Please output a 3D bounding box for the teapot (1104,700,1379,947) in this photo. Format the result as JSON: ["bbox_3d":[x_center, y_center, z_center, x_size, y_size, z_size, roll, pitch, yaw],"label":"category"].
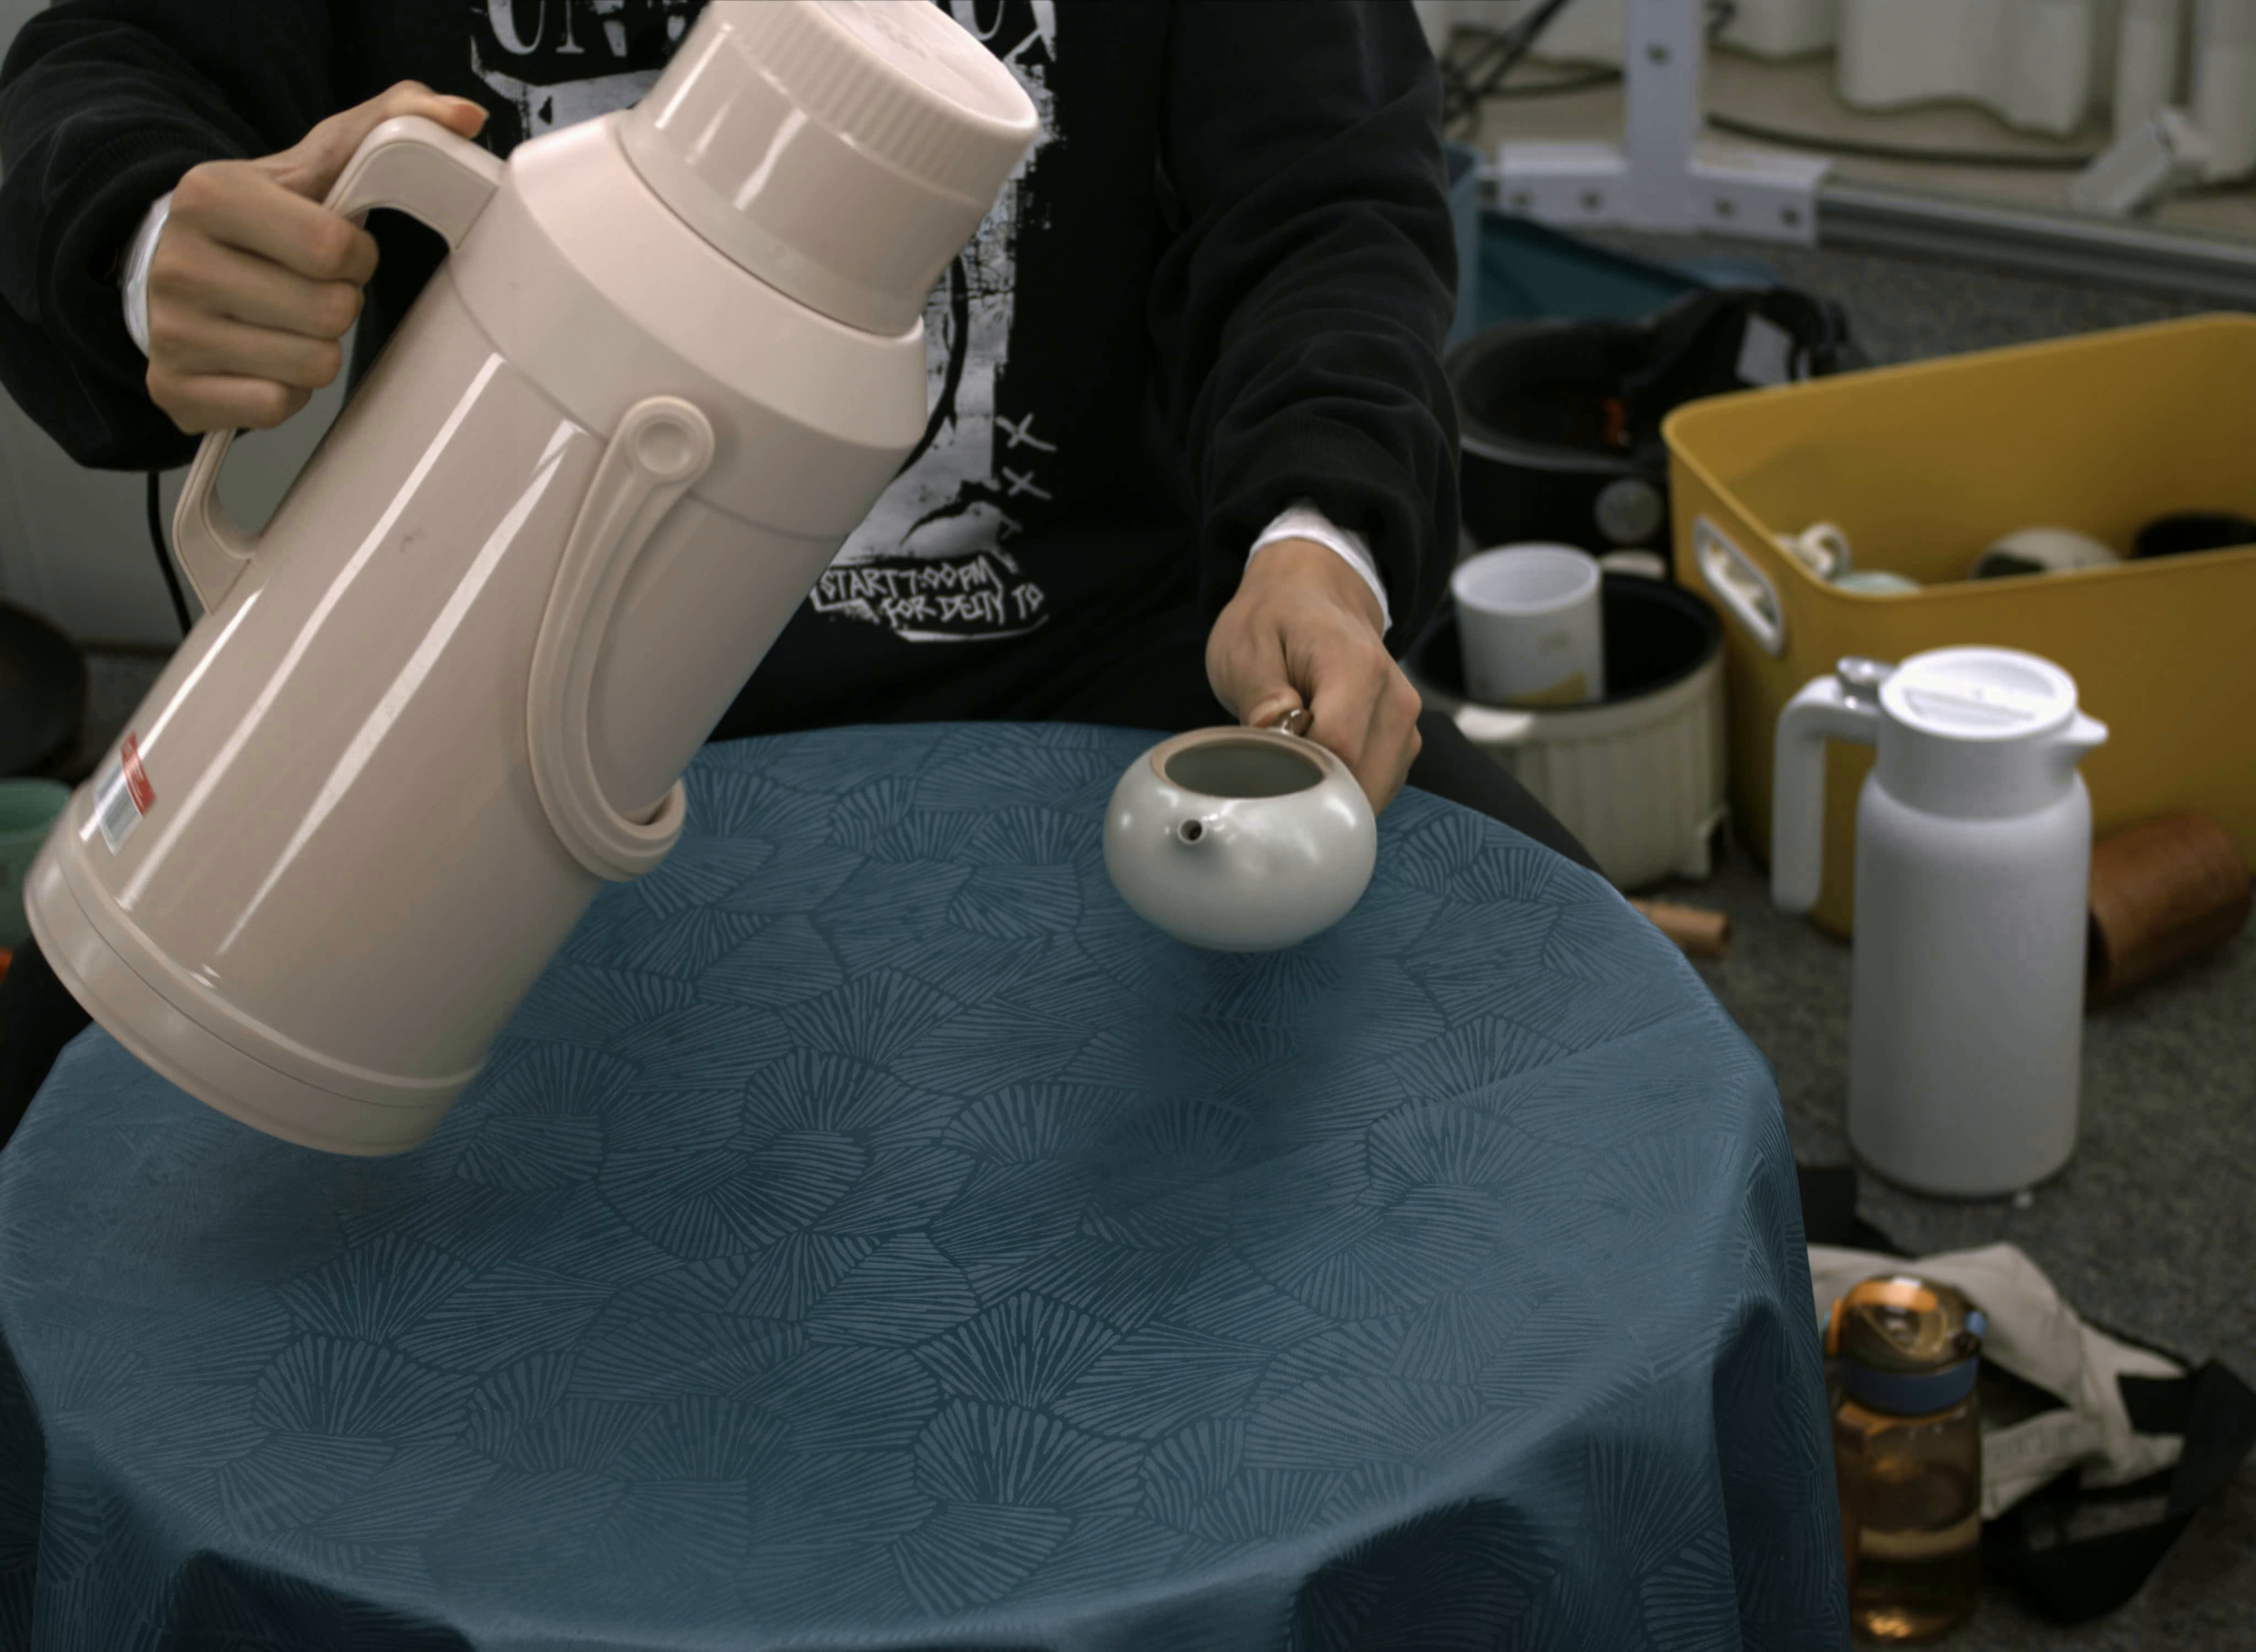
[{"bbox_3d":[0.041,-0.001,1.876,0.091,0.059,0.130,6,24,17],"label":"teapot"}]

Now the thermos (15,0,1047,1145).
[{"bbox_3d":[-0.195,-0.104,1.792,0.206,0.402,0.177,33,18,-16],"label":"thermos"}]
